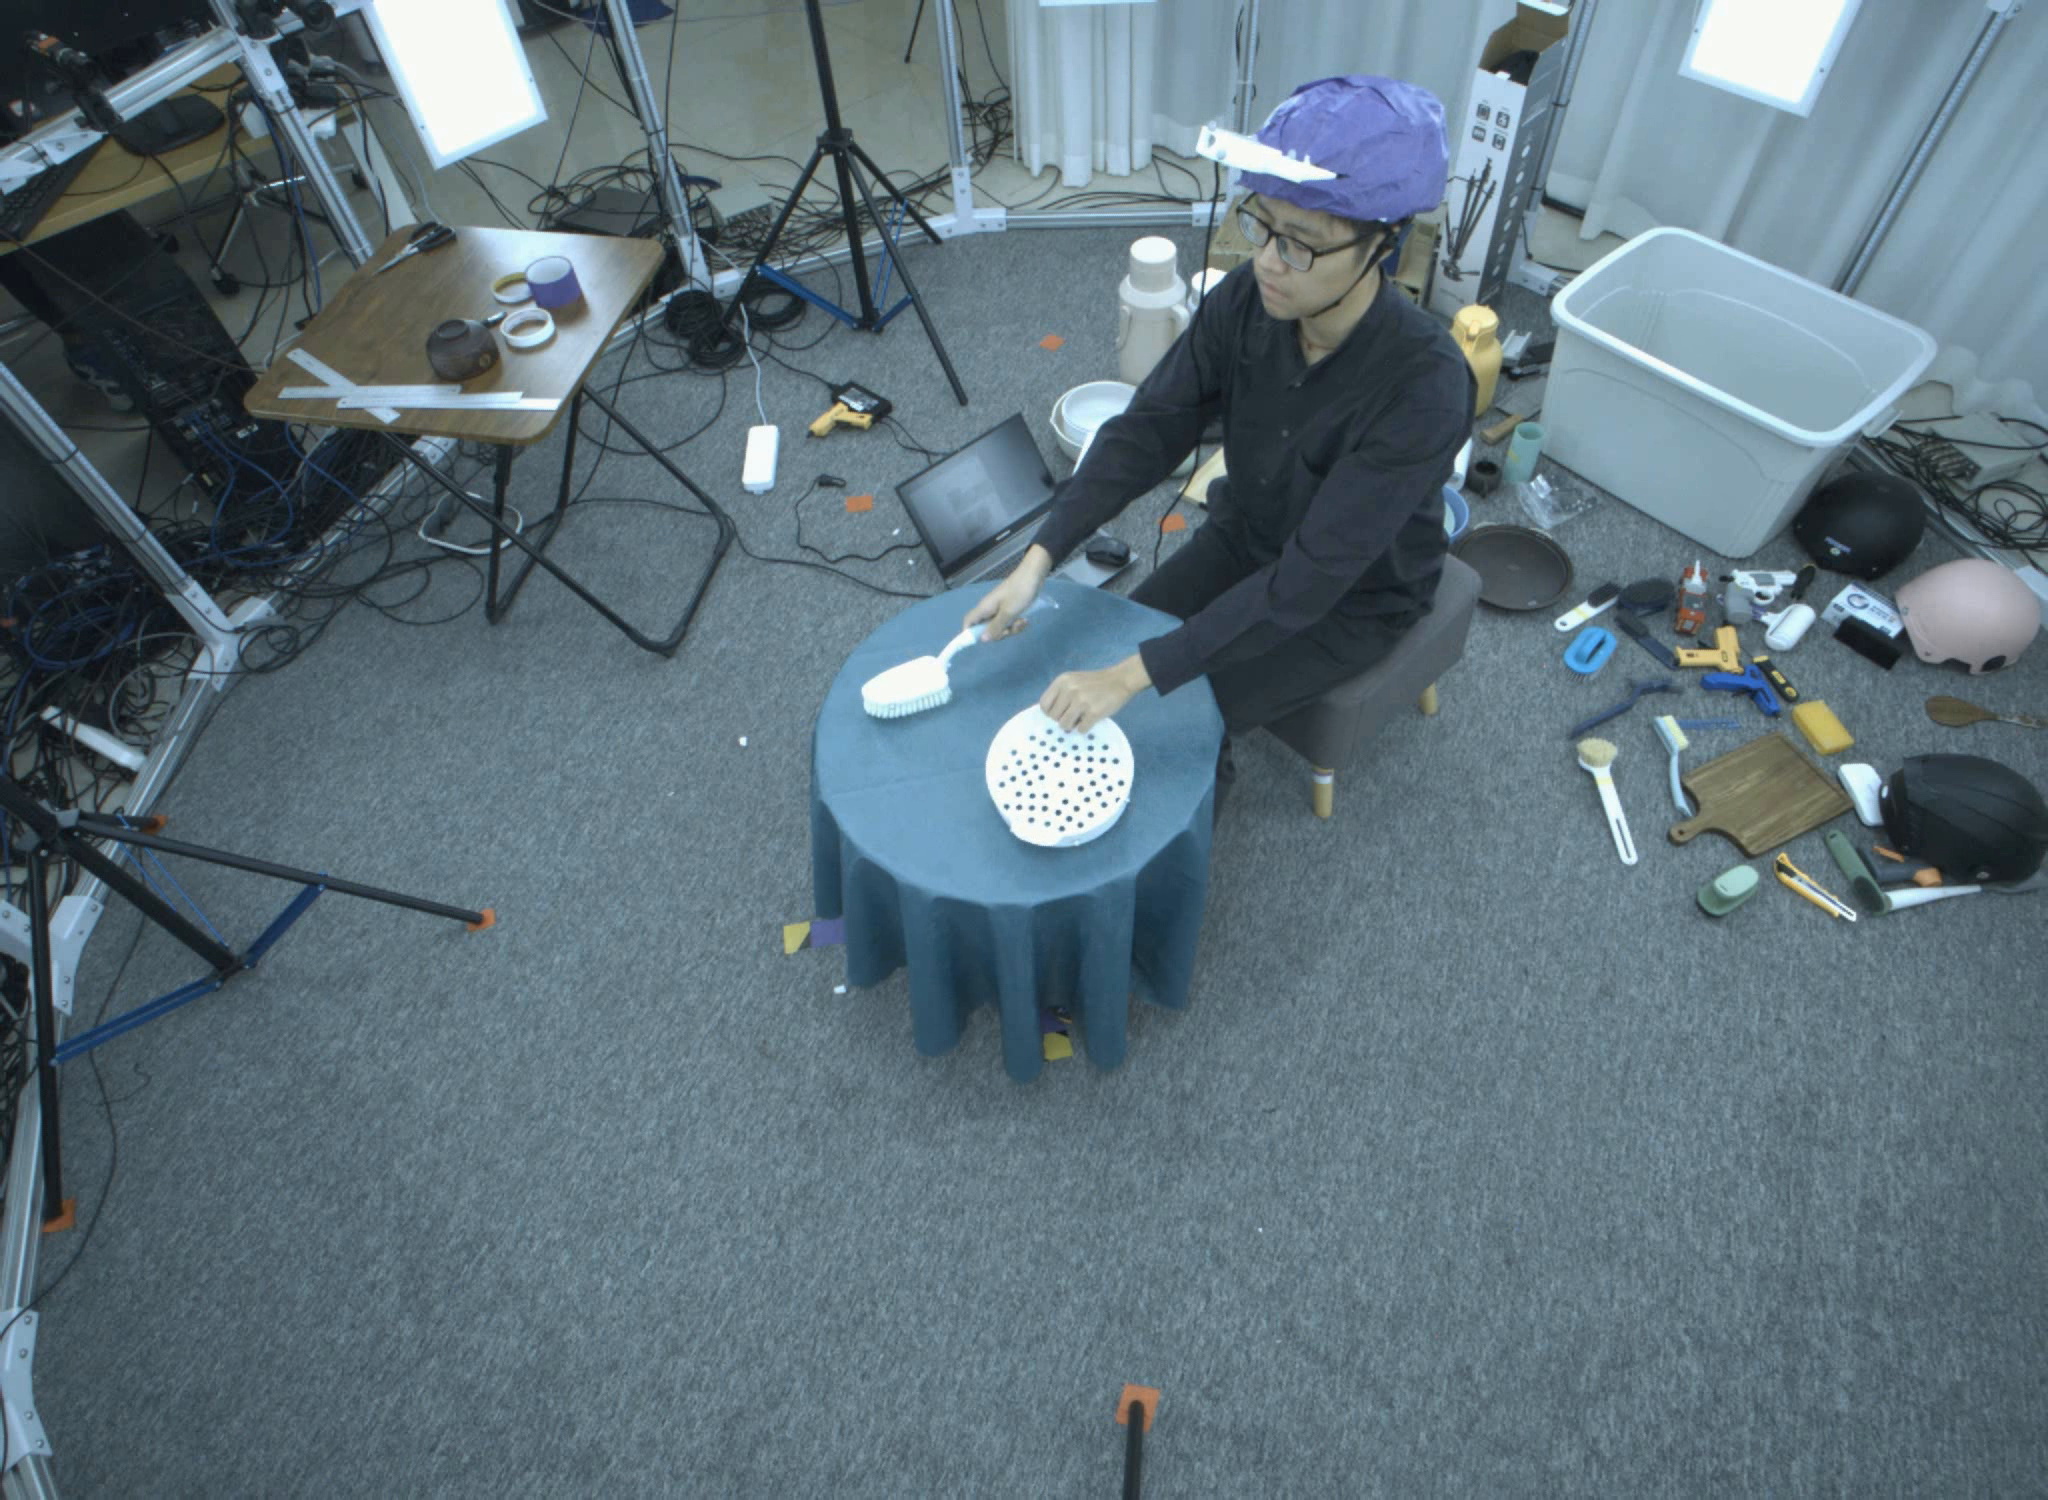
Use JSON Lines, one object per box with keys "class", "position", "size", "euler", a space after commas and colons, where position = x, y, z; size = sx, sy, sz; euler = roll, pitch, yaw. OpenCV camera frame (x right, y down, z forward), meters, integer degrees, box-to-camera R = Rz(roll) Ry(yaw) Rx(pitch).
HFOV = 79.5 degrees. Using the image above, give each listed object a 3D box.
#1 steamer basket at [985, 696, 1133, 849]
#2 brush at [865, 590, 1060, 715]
{"class": "steamer basket", "position": [0.049, 0.038, 1.702], "size": [0.200, 0.070, 0.230], "euler": [17, 67, 9]}
{"class": "brush", "position": [-0.085, -0.136, 1.839], "size": [0.326, 0.084, 0.083], "euler": [-28, 93, -7]}
